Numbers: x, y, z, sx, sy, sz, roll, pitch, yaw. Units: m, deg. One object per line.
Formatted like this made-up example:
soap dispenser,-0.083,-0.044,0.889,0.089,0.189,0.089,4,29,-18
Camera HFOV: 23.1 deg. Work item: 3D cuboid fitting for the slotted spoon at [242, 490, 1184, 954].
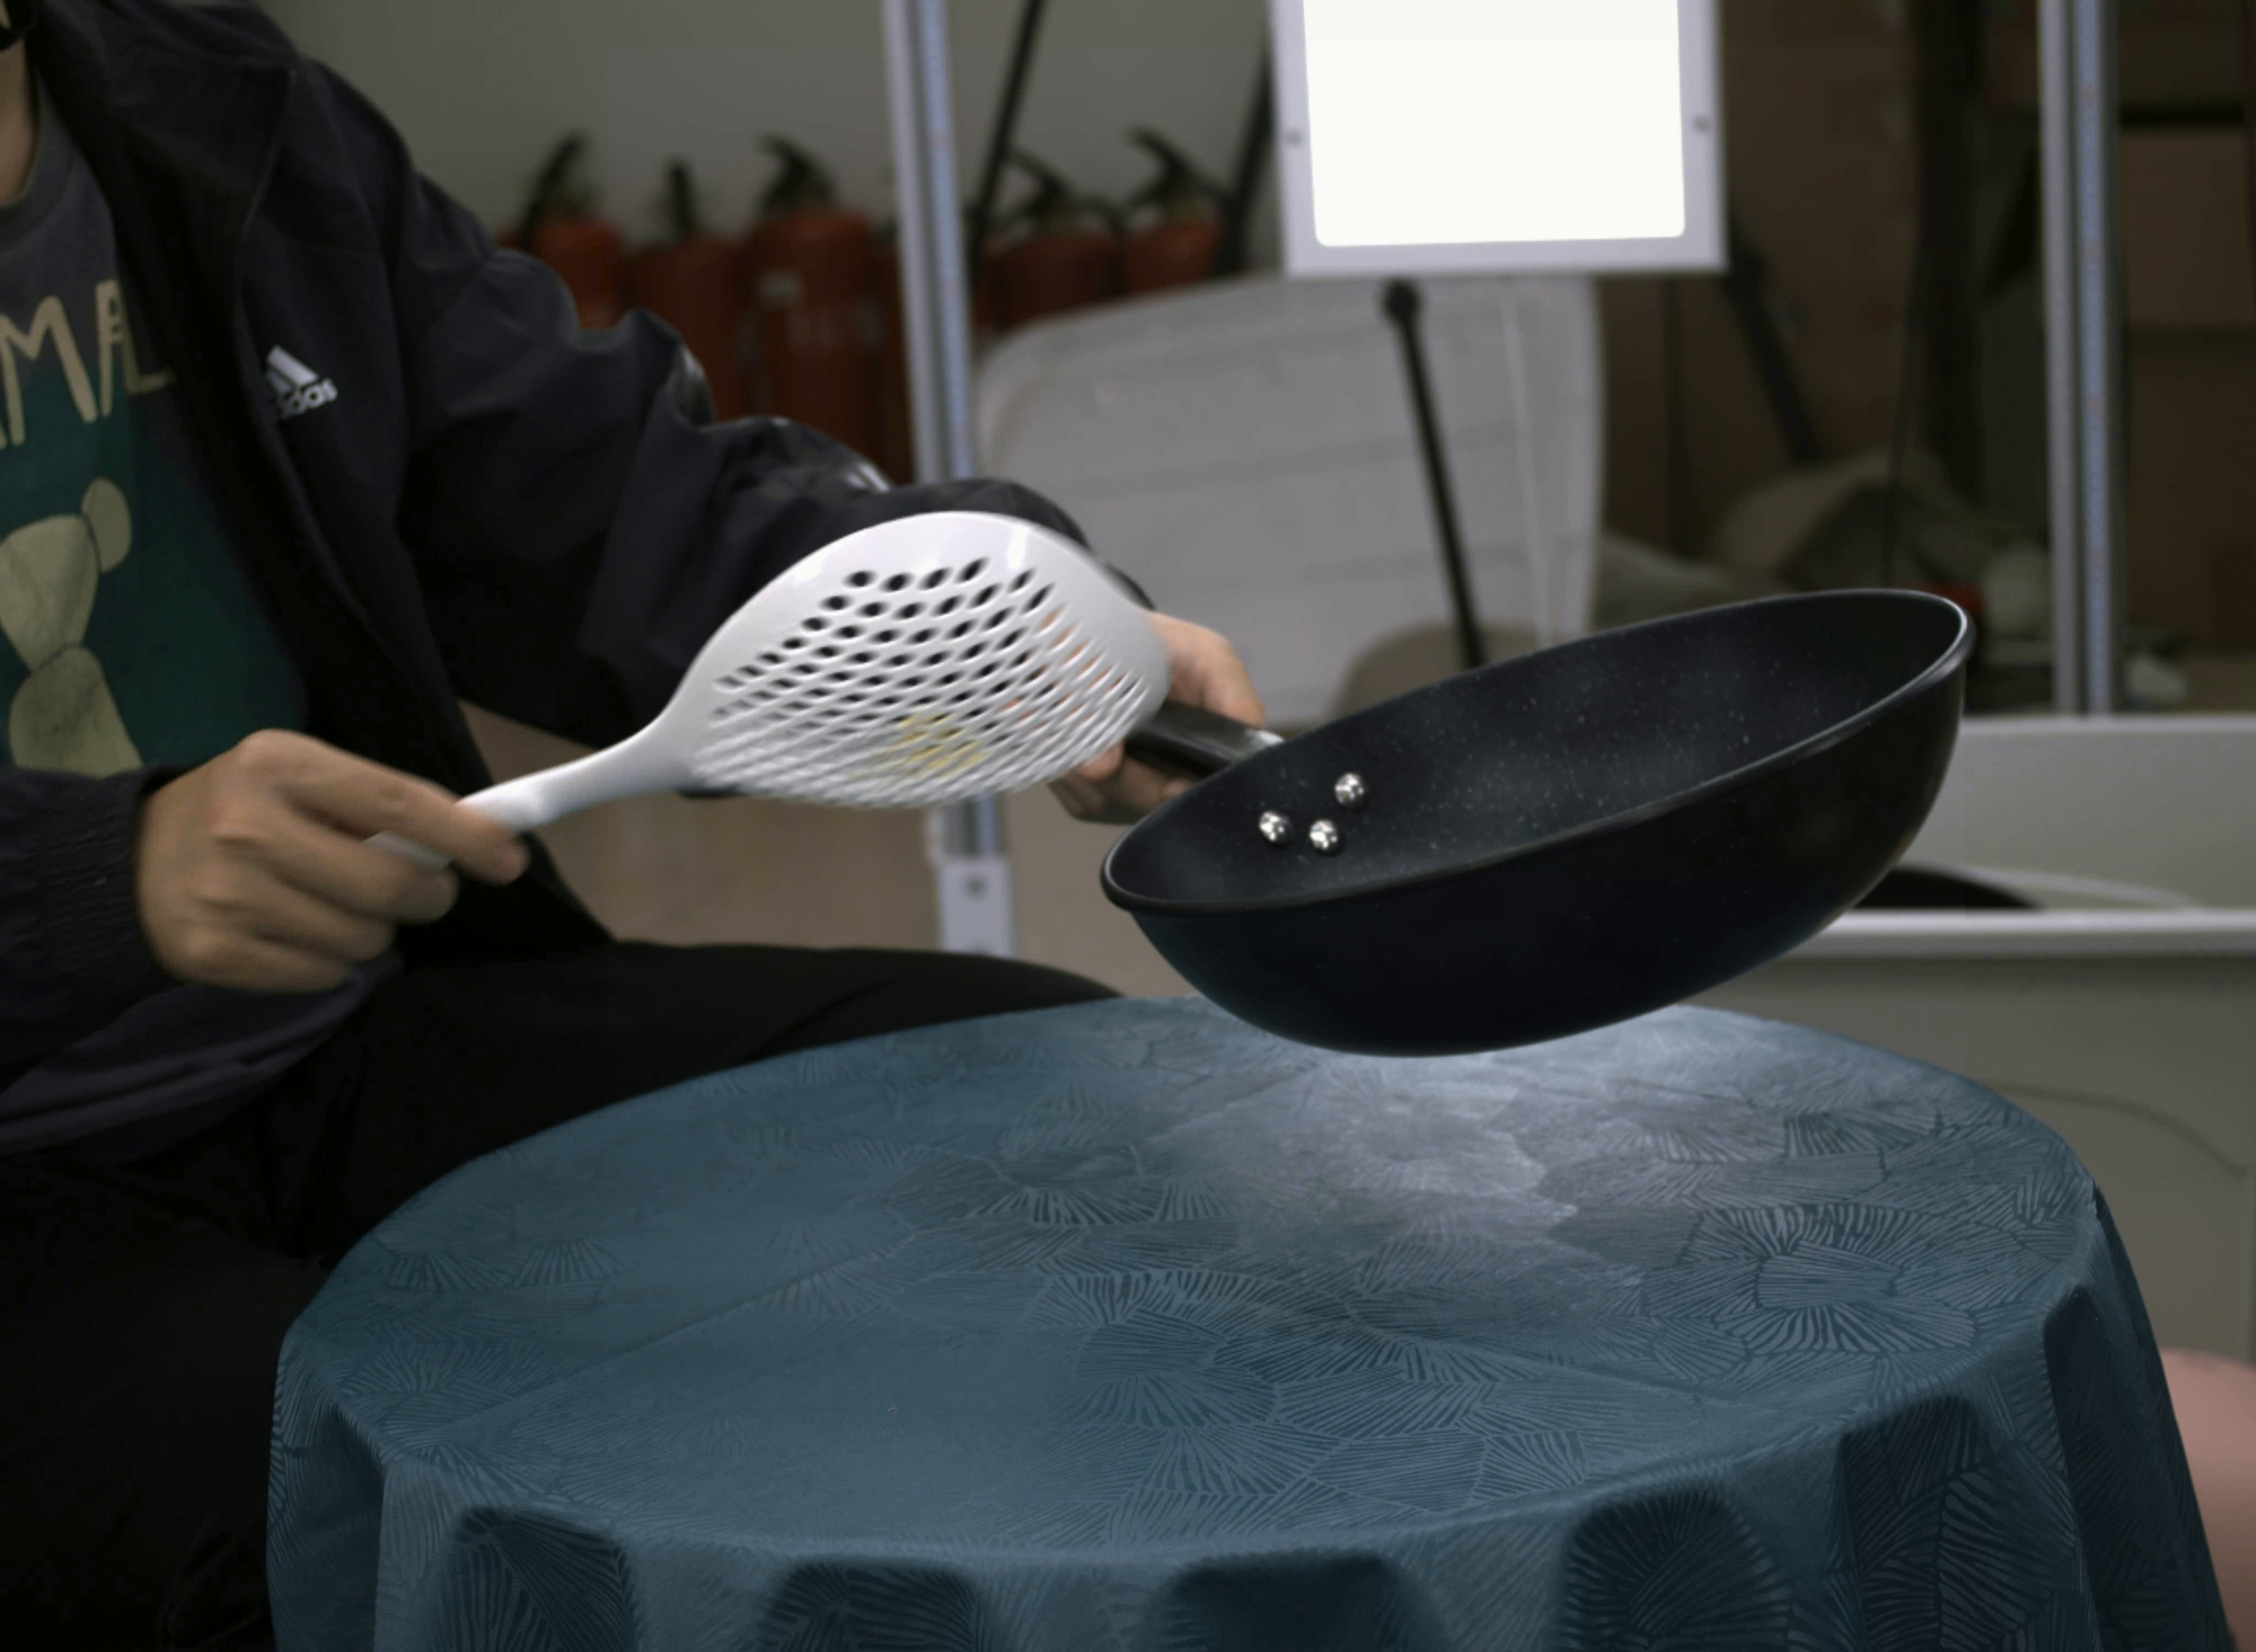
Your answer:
slotted spoon,-0.144,-0.020,1.819,0.354,0.050,0.134,-16,-35,27

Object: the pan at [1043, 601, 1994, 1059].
pan,0.105,0.000,1.932,0.303,0.112,0.487,-23,12,-30
